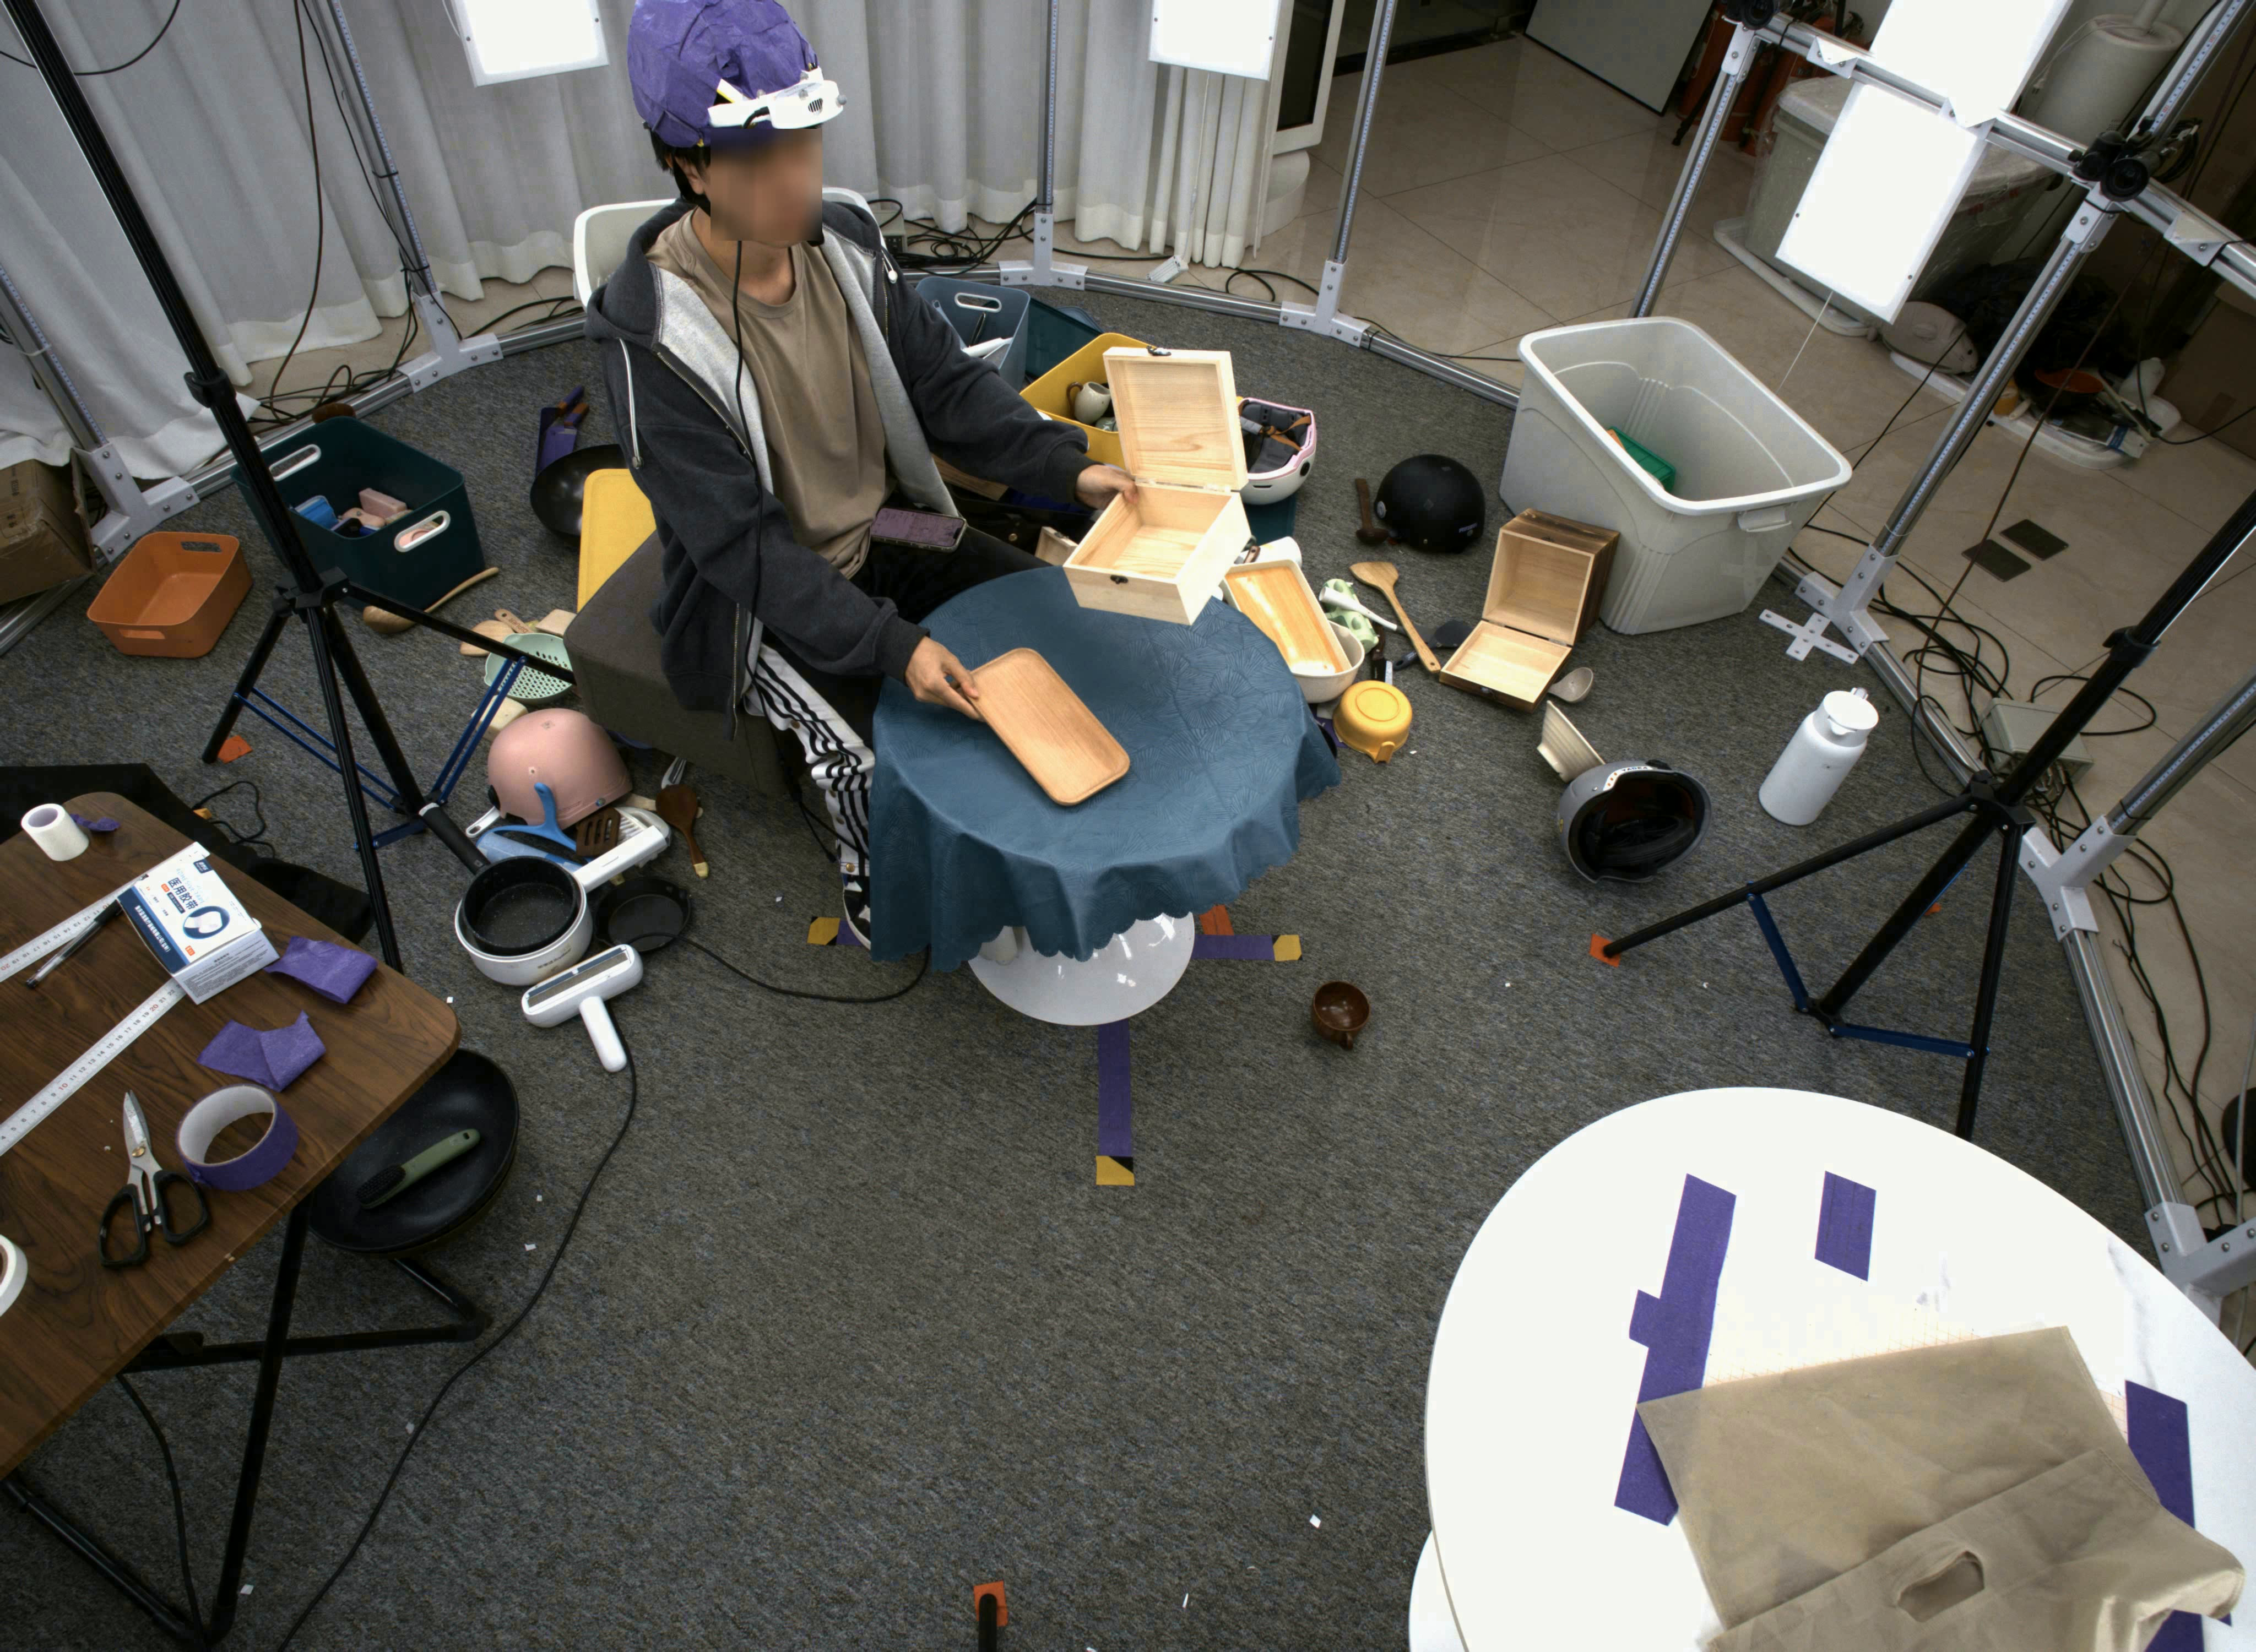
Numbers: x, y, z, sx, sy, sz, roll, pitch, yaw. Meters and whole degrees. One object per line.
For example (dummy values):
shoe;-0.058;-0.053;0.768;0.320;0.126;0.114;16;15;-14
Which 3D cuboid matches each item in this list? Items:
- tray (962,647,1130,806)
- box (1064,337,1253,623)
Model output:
tray;-0.113;-0.137;1.739;0.131;0.022;0.254;-29;65;-26
box;0.031;-0.451;1.691;0.183;0.247;0.269;11;55;34
